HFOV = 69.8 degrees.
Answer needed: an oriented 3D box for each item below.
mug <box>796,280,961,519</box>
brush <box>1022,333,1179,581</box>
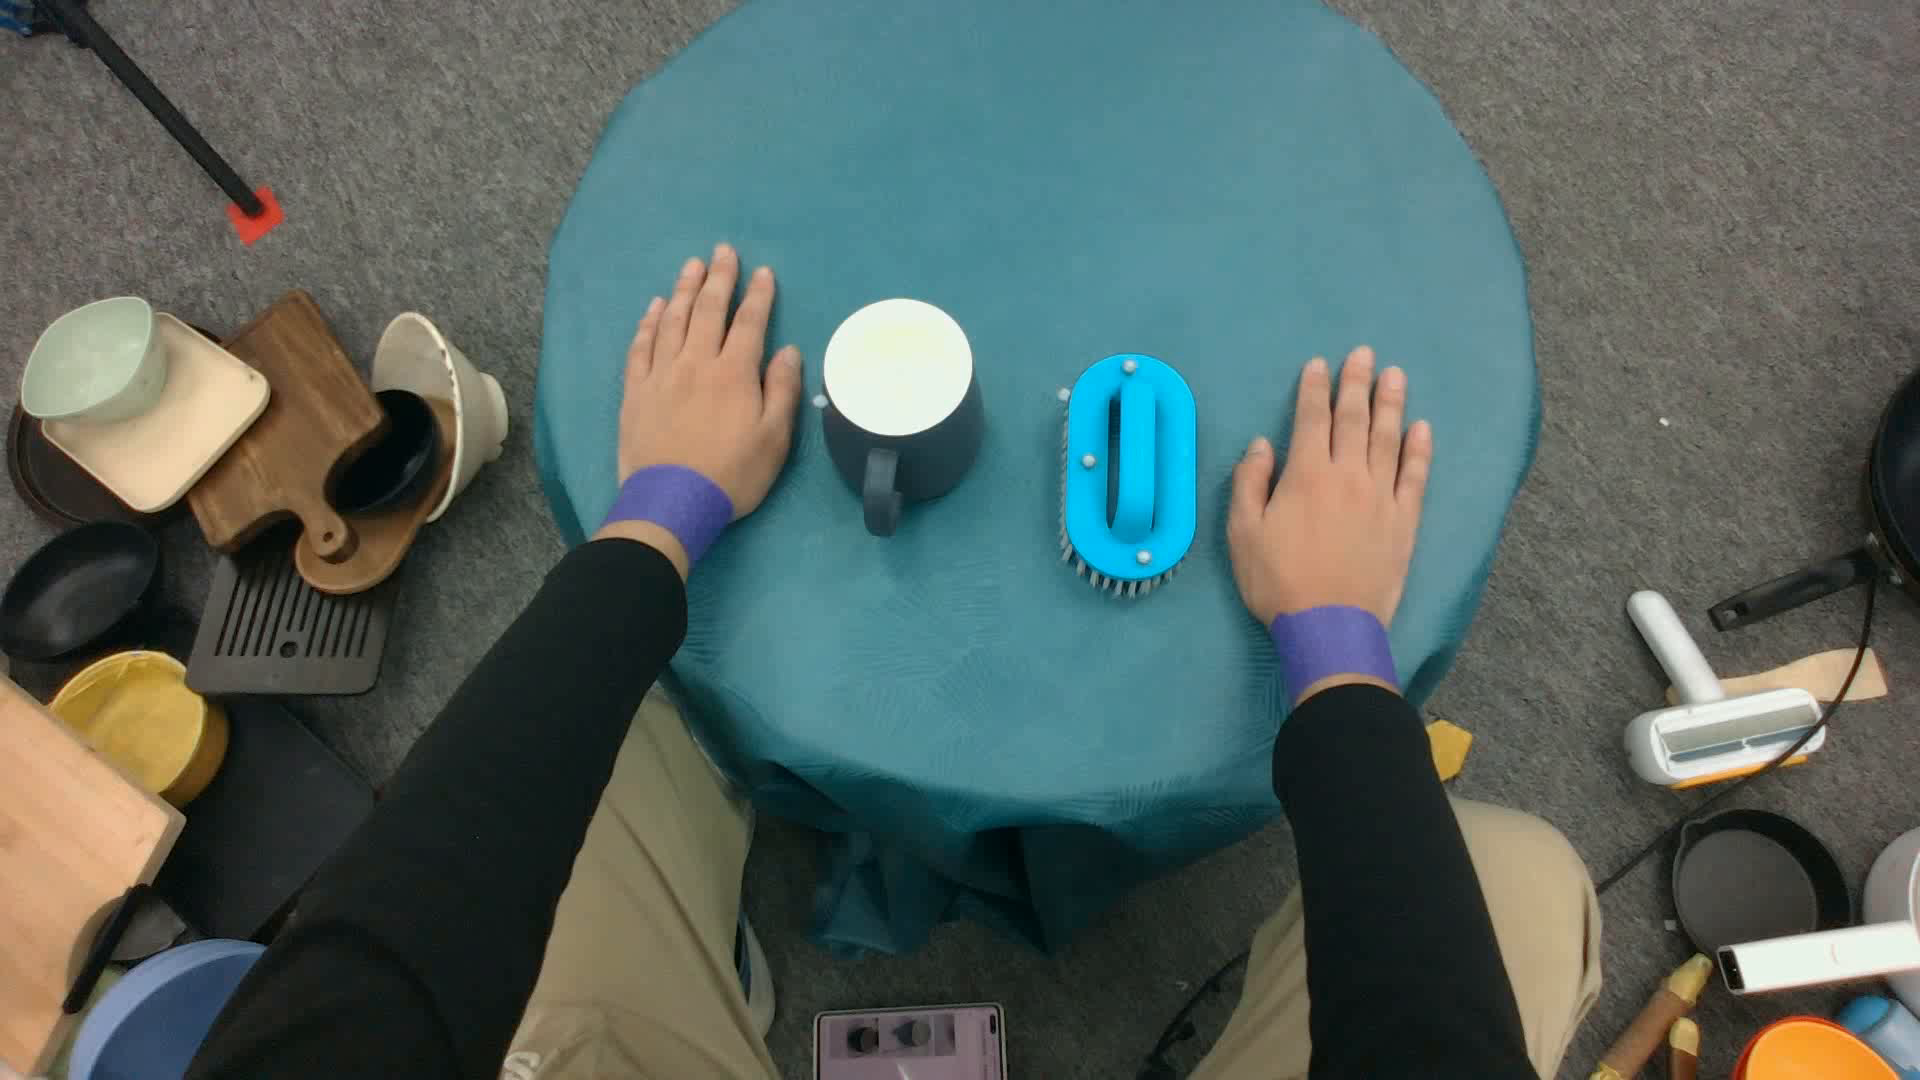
[{"bbox_3d":[-0.049,-0.072,0.756,0.093,0.089,0.123,10,69,3],"label":"mug"},{"bbox_3d":[0.081,-0.052,0.766,0.084,0.063,0.142,6,71,-4],"label":"brush"}]
